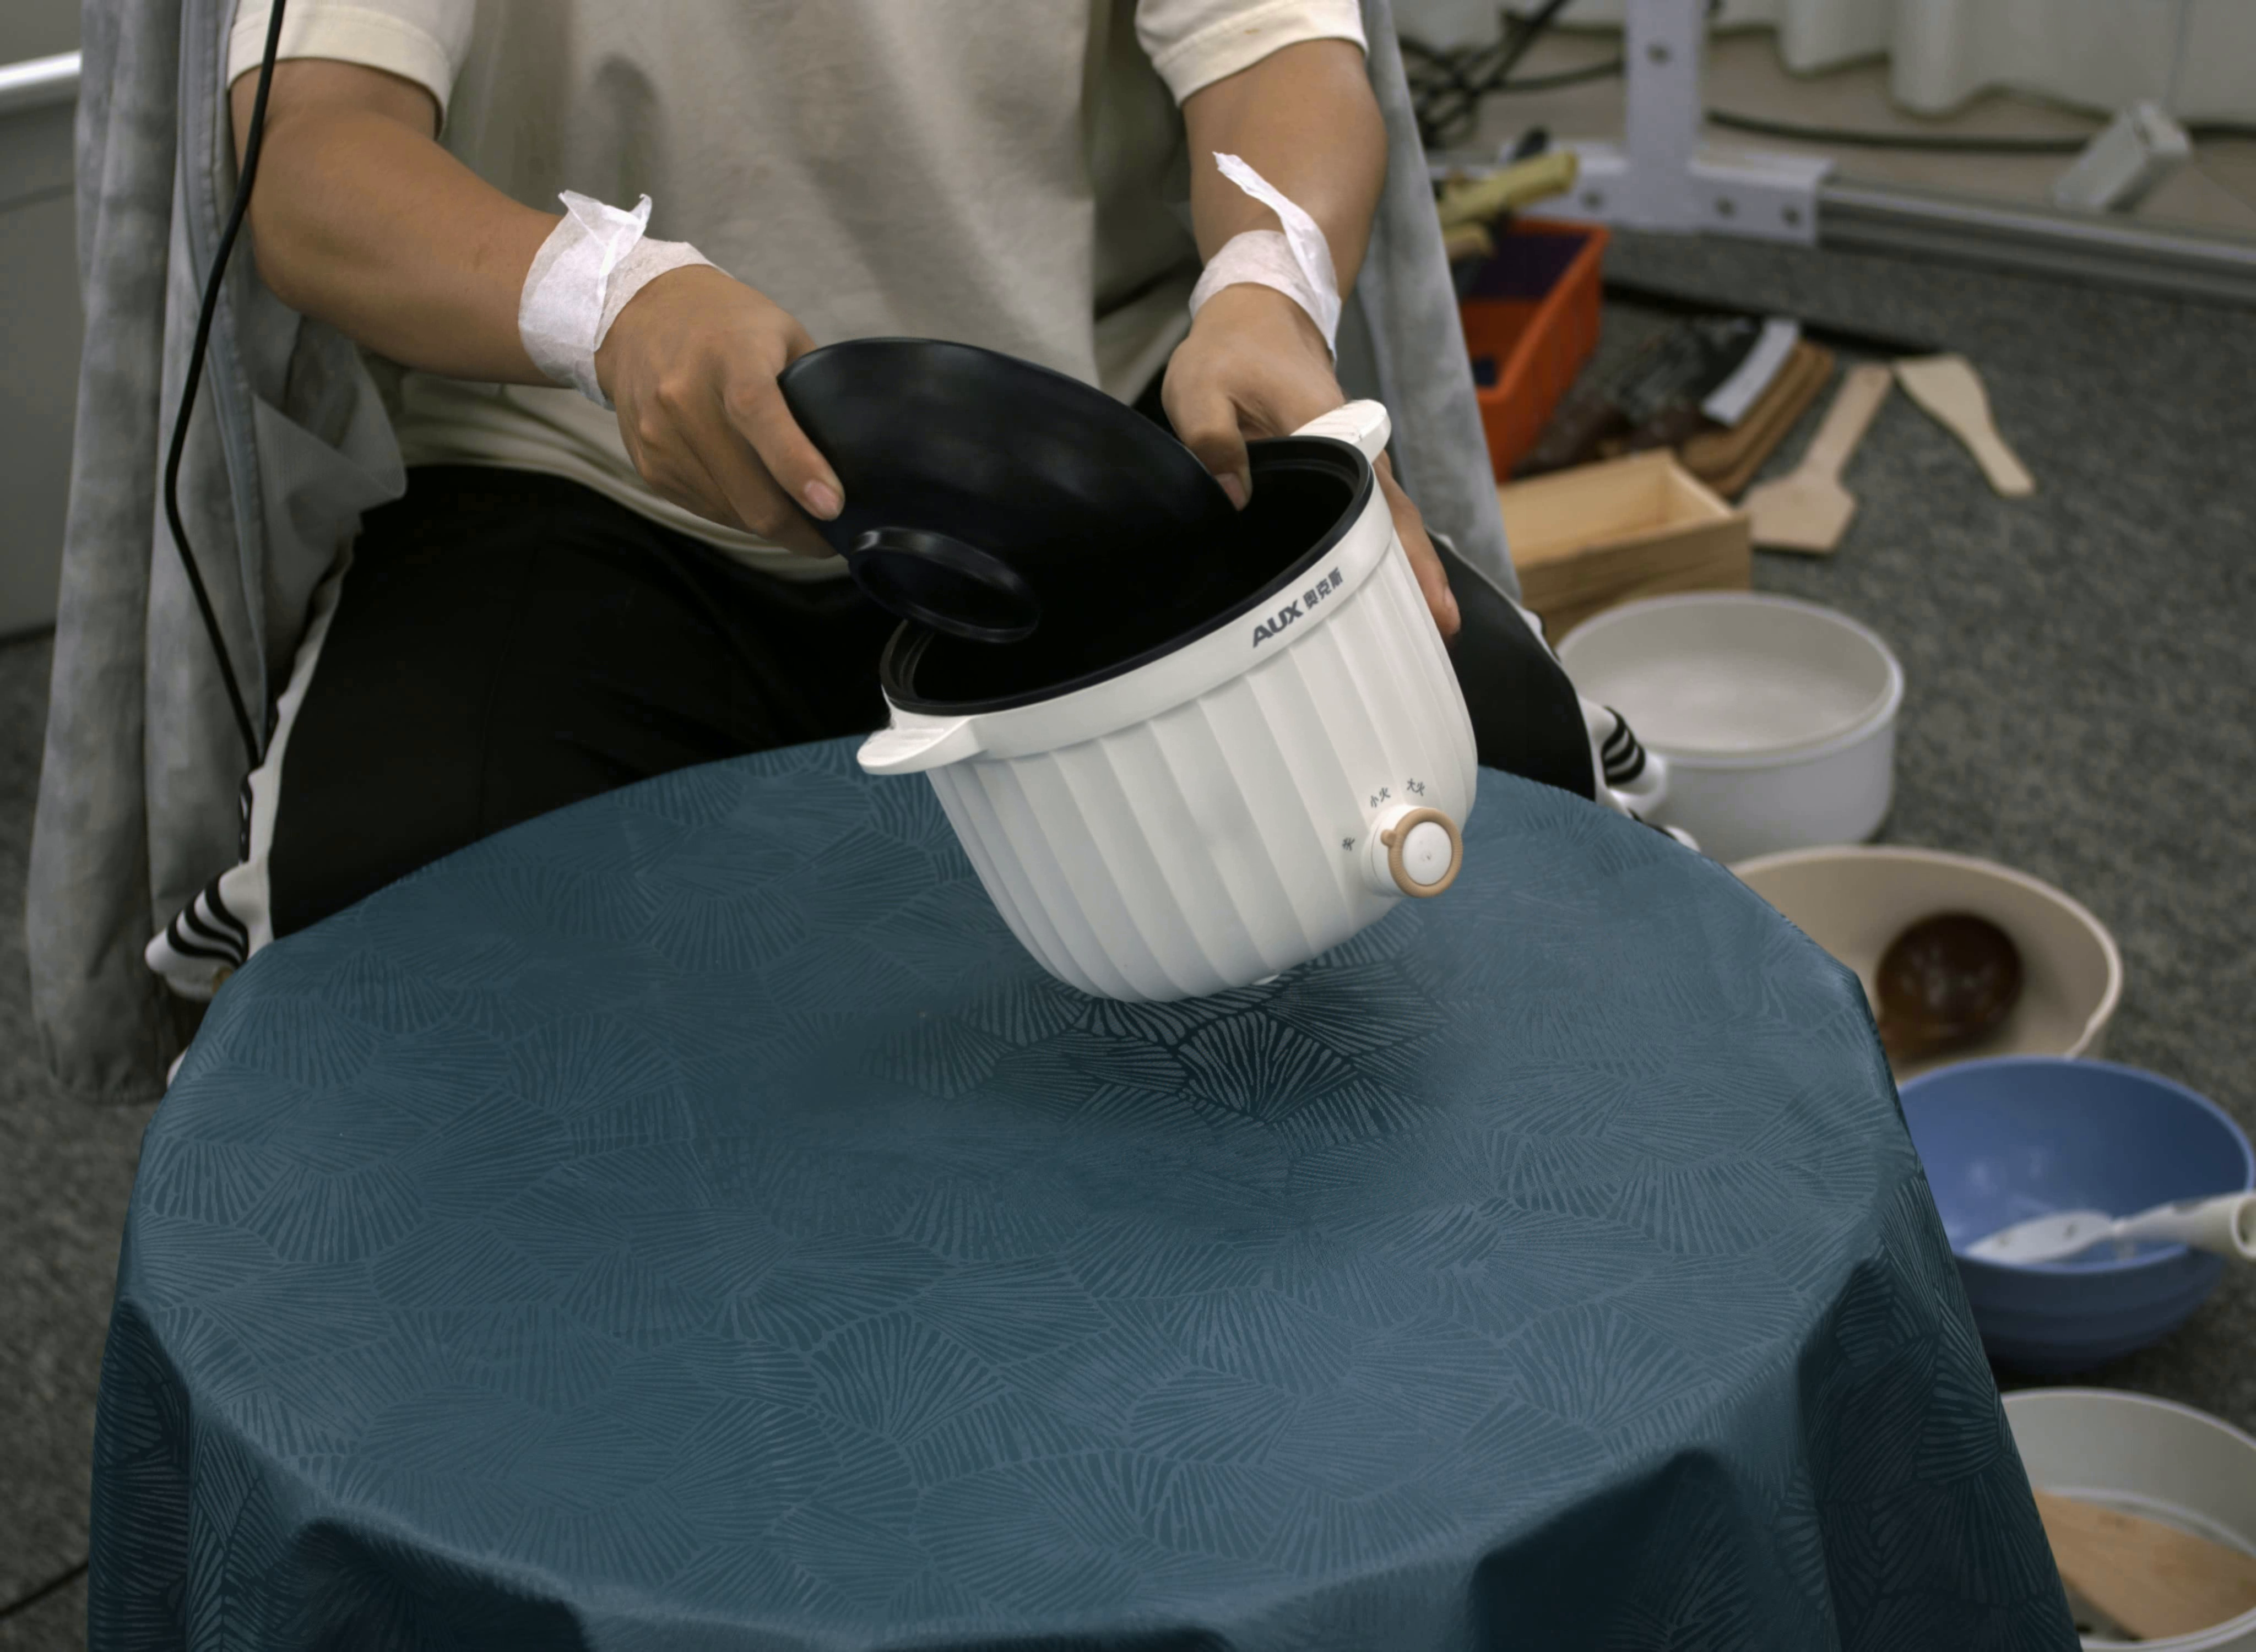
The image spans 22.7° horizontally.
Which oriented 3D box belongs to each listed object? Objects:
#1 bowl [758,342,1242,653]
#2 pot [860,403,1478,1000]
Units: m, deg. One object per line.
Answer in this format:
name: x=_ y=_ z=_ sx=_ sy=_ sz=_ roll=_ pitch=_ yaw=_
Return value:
bowl: x=-0.050 y=-0.102 z=1.885 sx=0.169 sy=0.135 sz=0.068 roll=18 pitch=69 yaw=6
pot: x=0.029 y=-0.032 z=1.912 sx=0.243 sy=0.142 sz=0.189 roll=-38 pitch=20 yaw=-30
